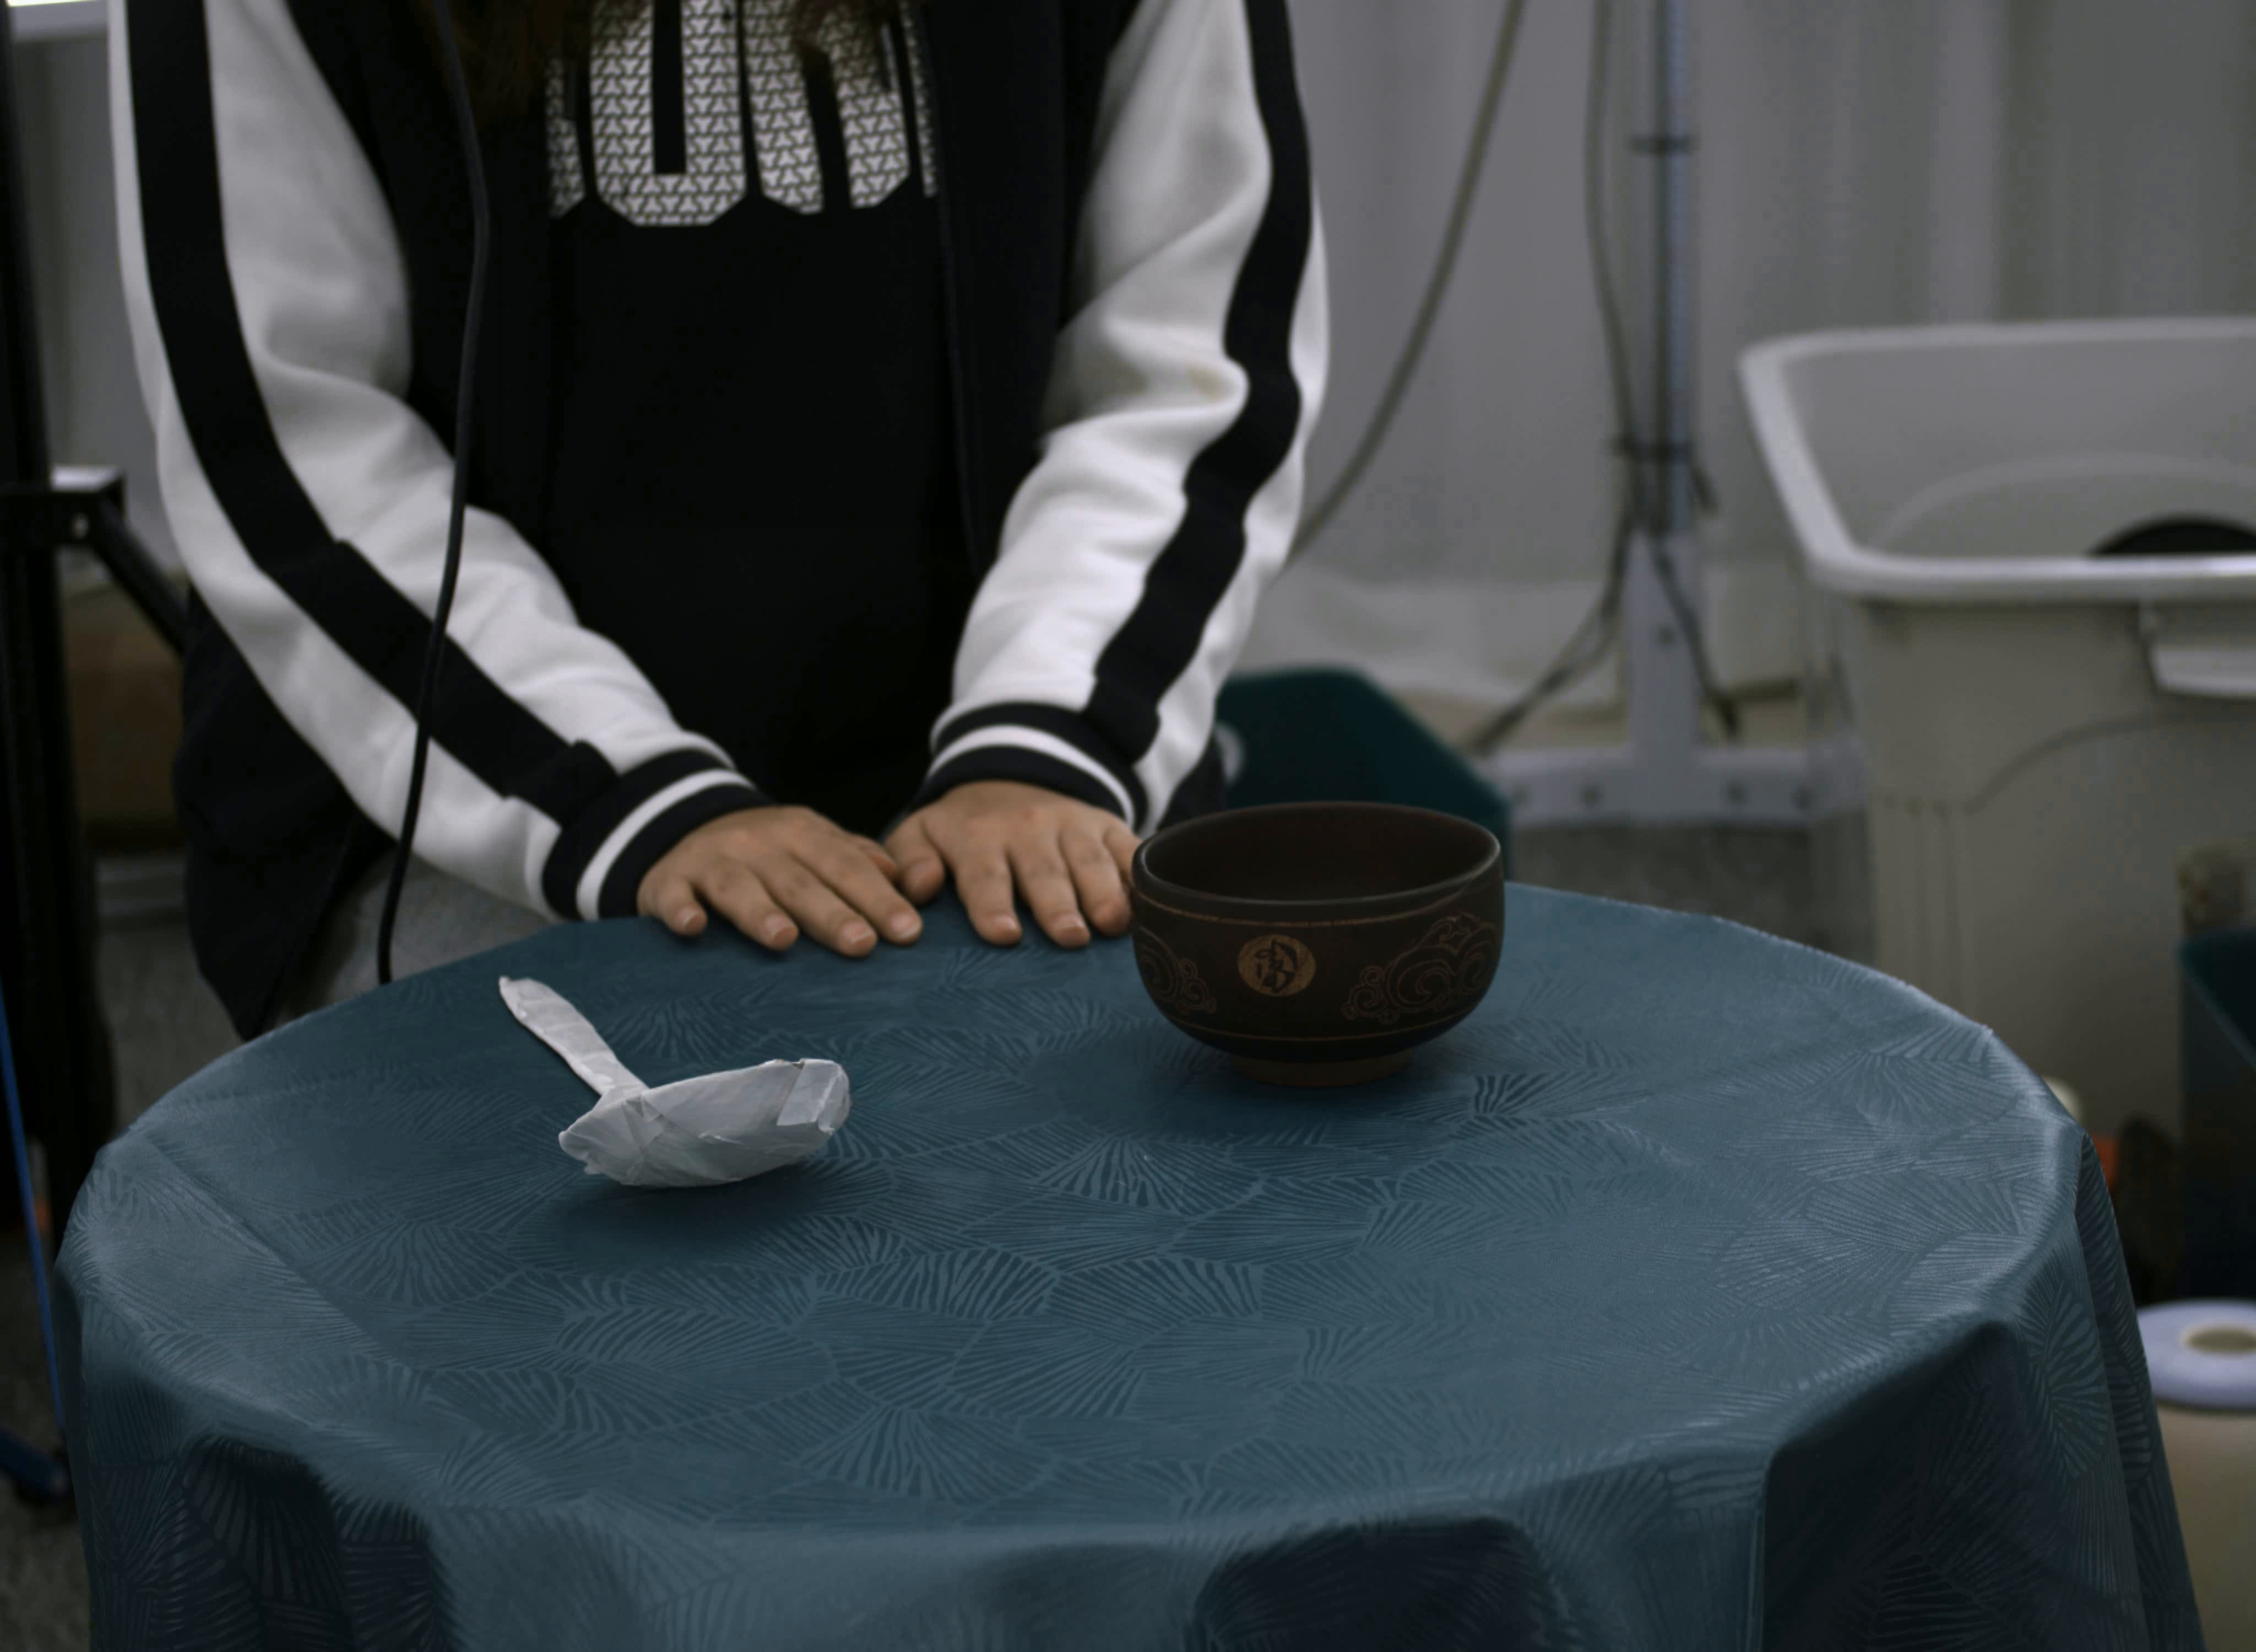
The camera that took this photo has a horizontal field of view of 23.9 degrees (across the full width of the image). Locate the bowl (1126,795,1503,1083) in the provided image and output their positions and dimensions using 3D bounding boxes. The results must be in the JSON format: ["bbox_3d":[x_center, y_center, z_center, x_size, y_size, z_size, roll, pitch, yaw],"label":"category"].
[{"bbox_3d":[0.059,0.039,1.658,0.117,0.070,0.118,-2,15,-1],"label":"bowl"}]

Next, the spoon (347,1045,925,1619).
[{"bbox_3d":[-0.160,0.160,1.603,0.098,0.279,0.060,12,32,-42],"label":"spoon"}]
